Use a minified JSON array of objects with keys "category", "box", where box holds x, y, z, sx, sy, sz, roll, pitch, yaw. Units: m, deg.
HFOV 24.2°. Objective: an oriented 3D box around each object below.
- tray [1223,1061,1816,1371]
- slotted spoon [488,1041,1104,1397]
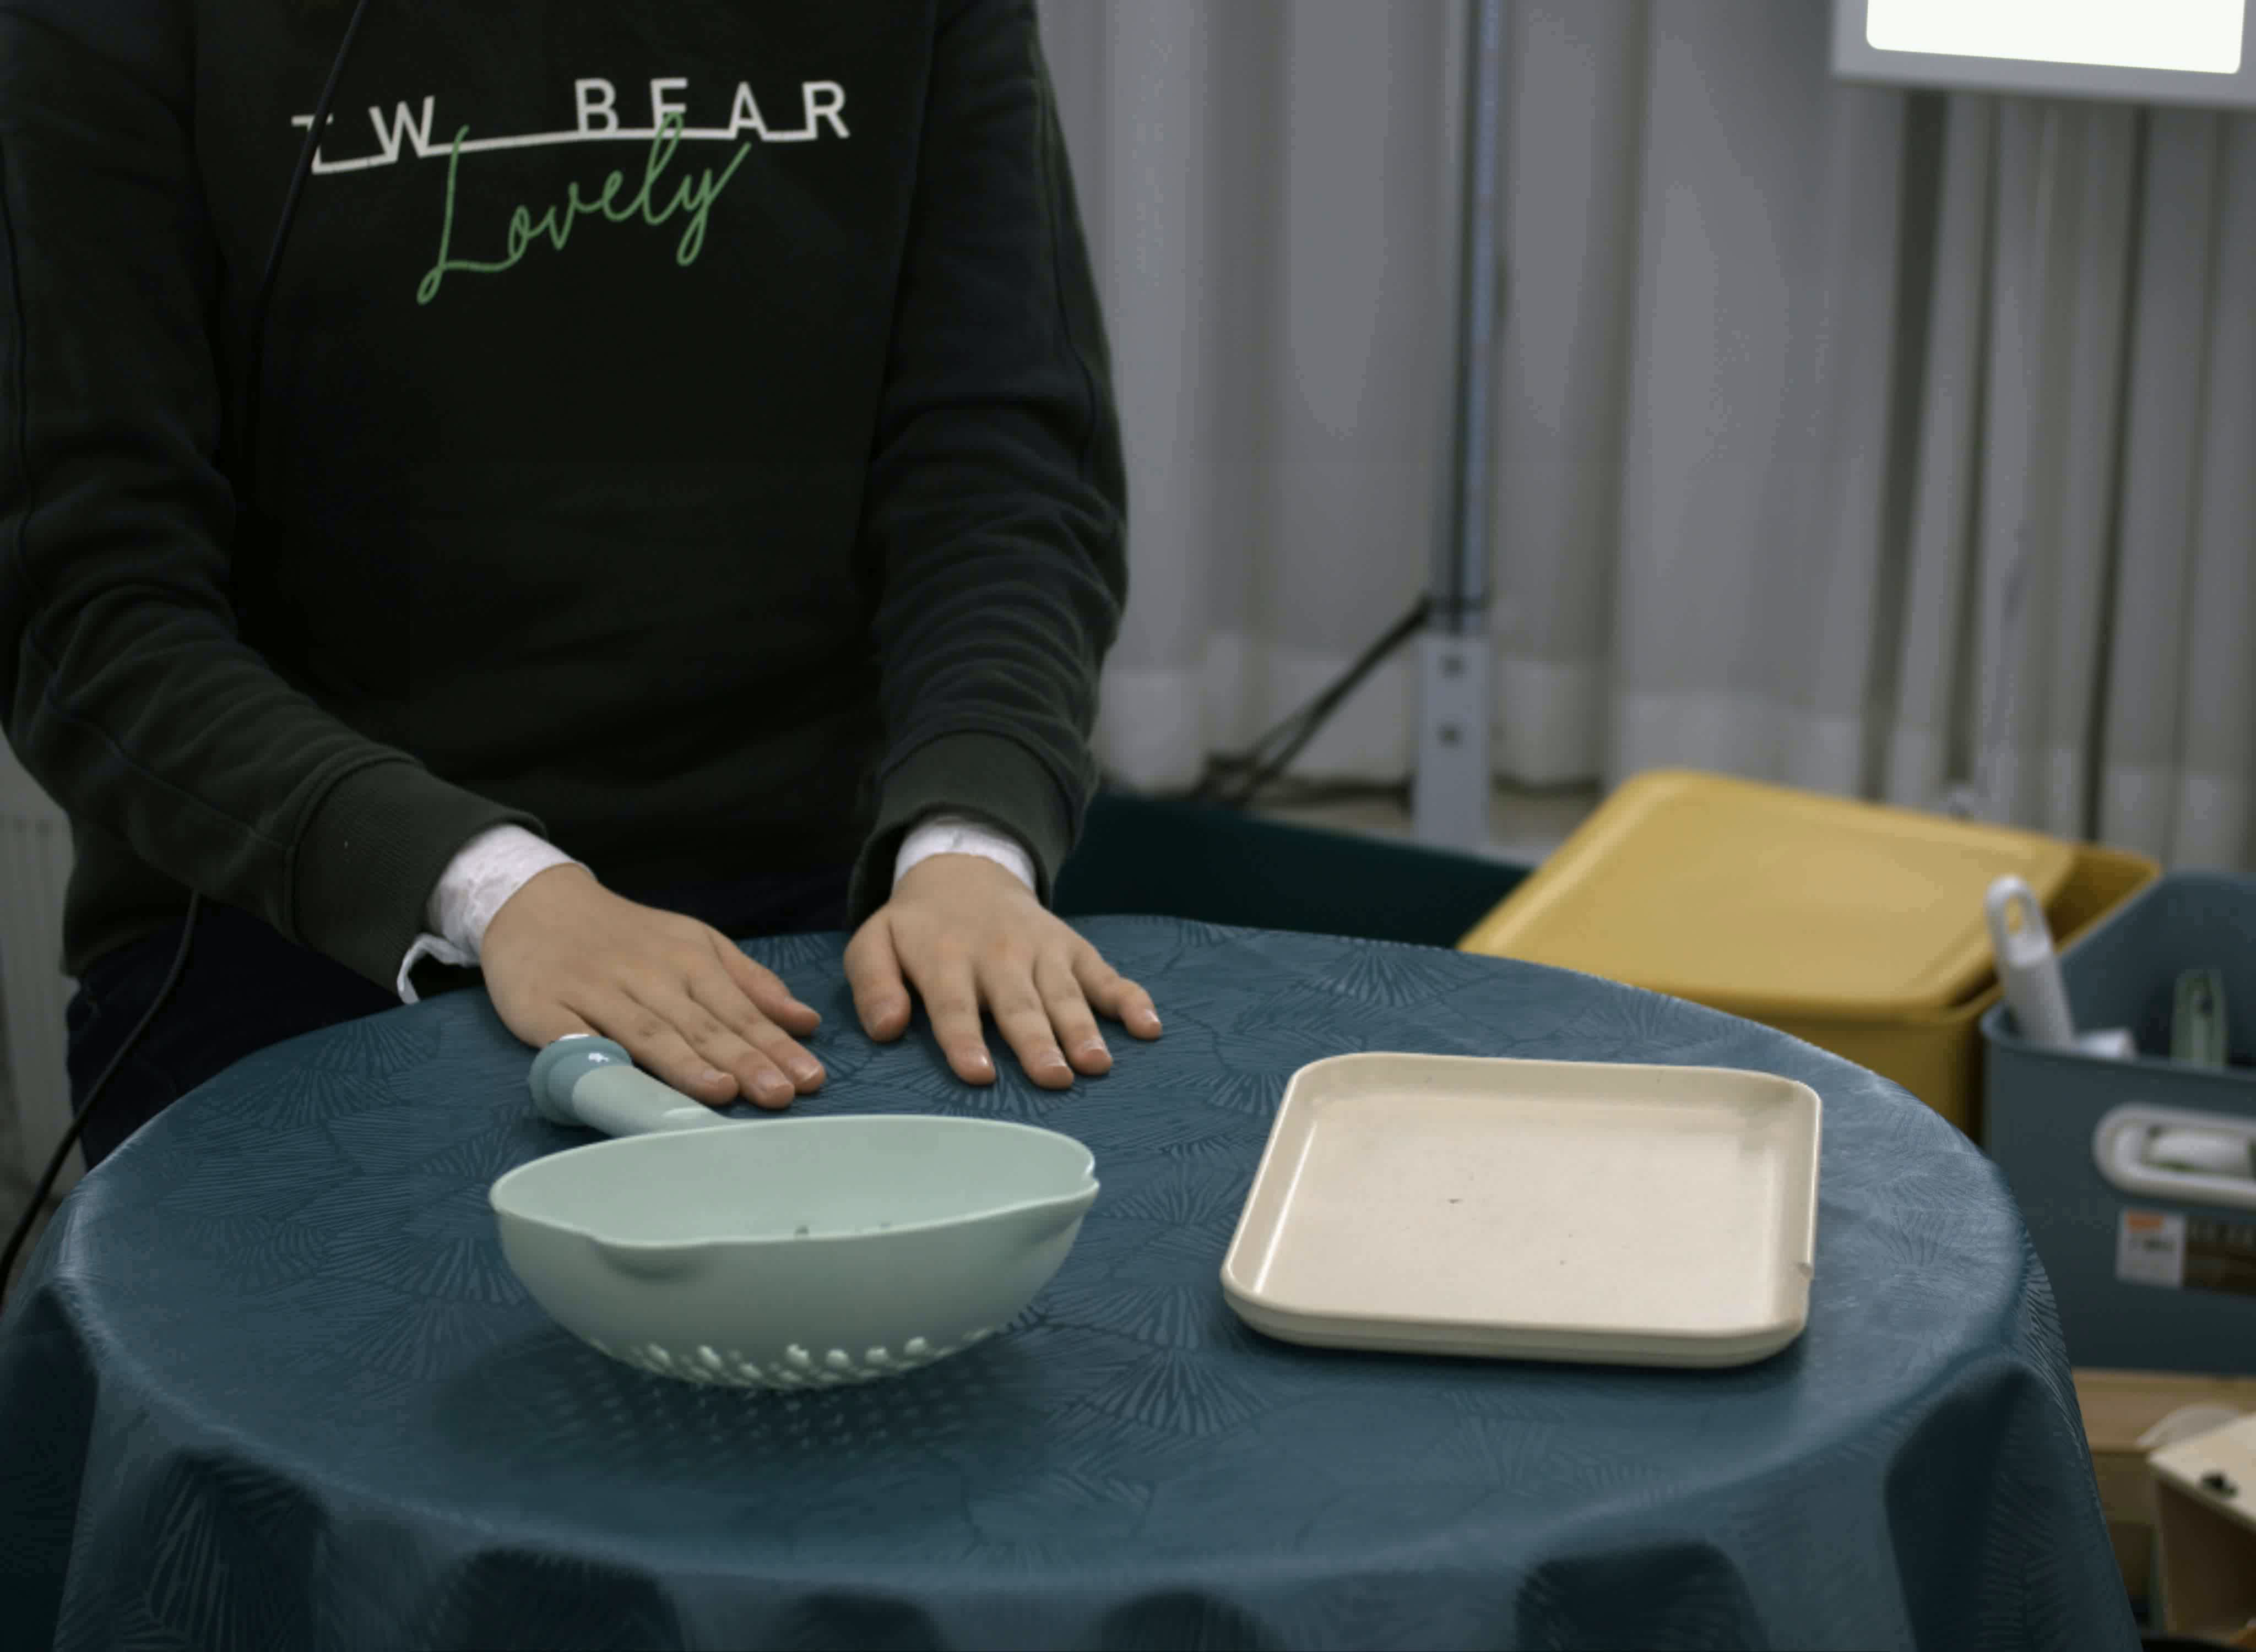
[{"category":"tray","box":[0.122,0.116,1.589,0.170,0.017,0.239,3,15,7]},{"category":"slotted spoon","box":[-0.125,0.099,1.553,0.170,0.076,0.355,-4,16,-20]}]
